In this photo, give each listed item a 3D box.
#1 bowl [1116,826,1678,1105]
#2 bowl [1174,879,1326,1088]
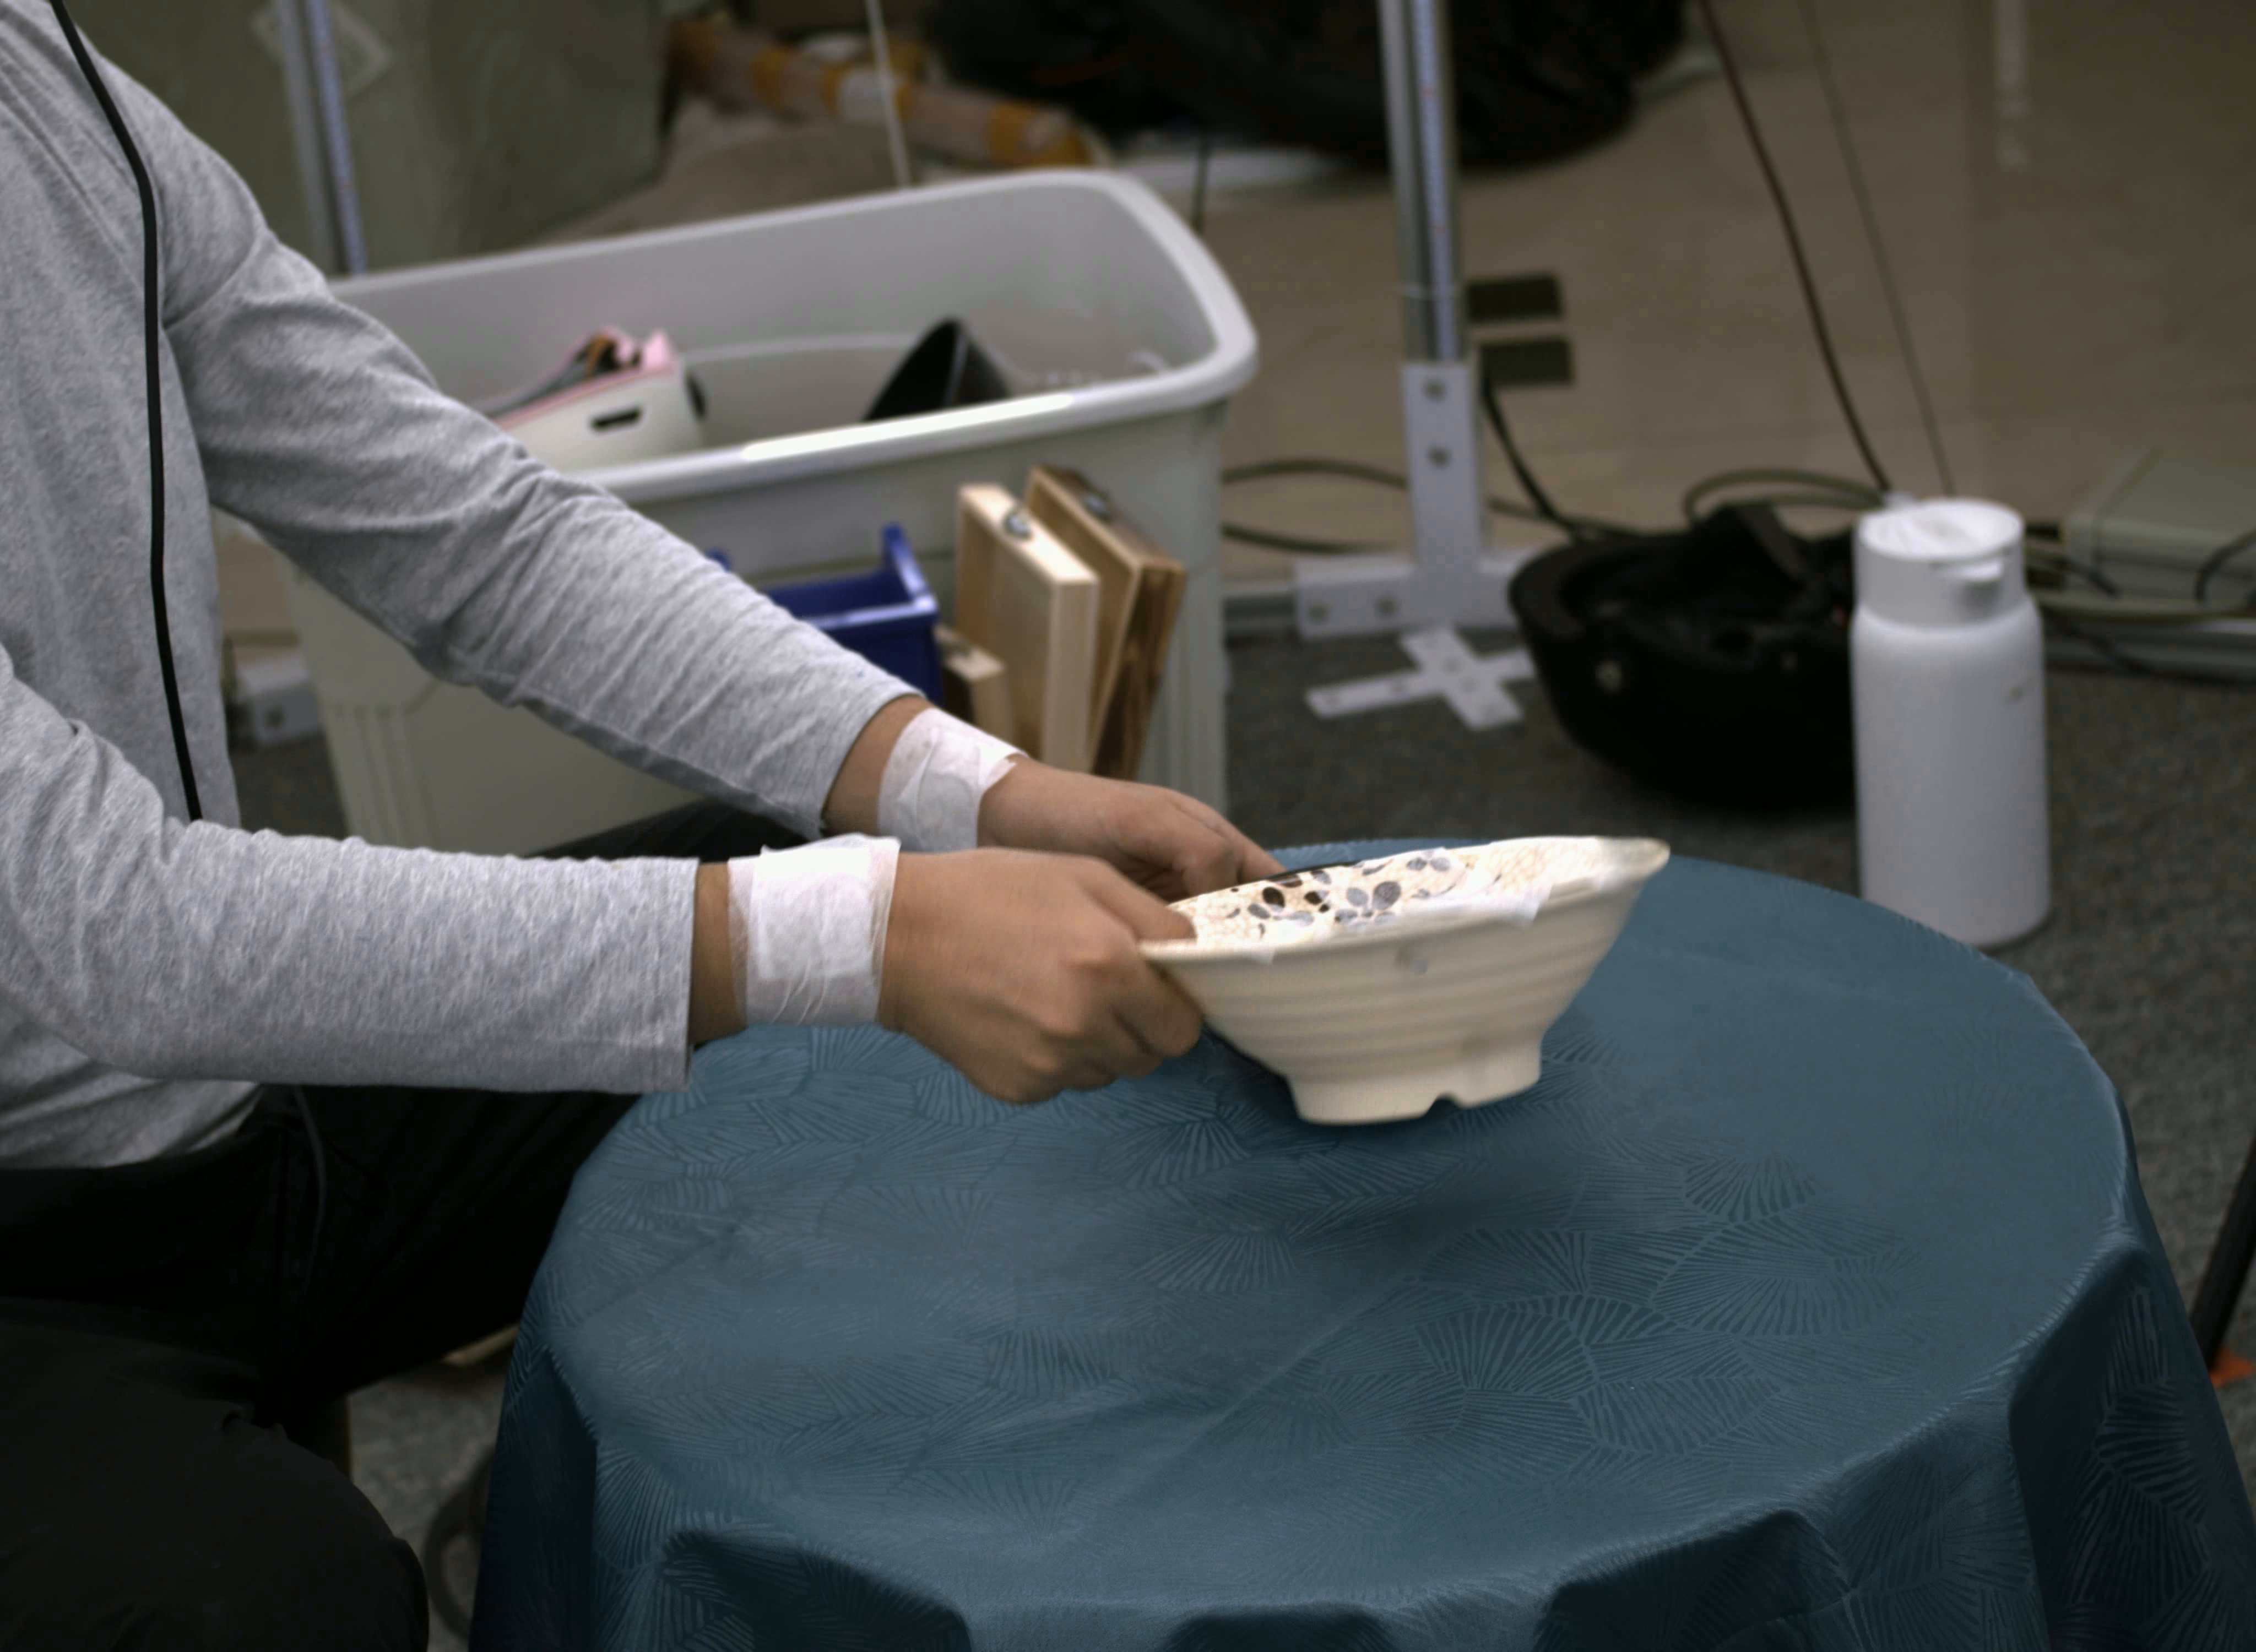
[{"bbox_3d":[0.101,0.054,2.030,0.203,0.078,0.203,-9,4,1],"label":"bowl"},{"bbox_3d":[0.090,0.067,2.231,0.140,0.050,0.138,-9,21,4],"label":"bowl"}]
